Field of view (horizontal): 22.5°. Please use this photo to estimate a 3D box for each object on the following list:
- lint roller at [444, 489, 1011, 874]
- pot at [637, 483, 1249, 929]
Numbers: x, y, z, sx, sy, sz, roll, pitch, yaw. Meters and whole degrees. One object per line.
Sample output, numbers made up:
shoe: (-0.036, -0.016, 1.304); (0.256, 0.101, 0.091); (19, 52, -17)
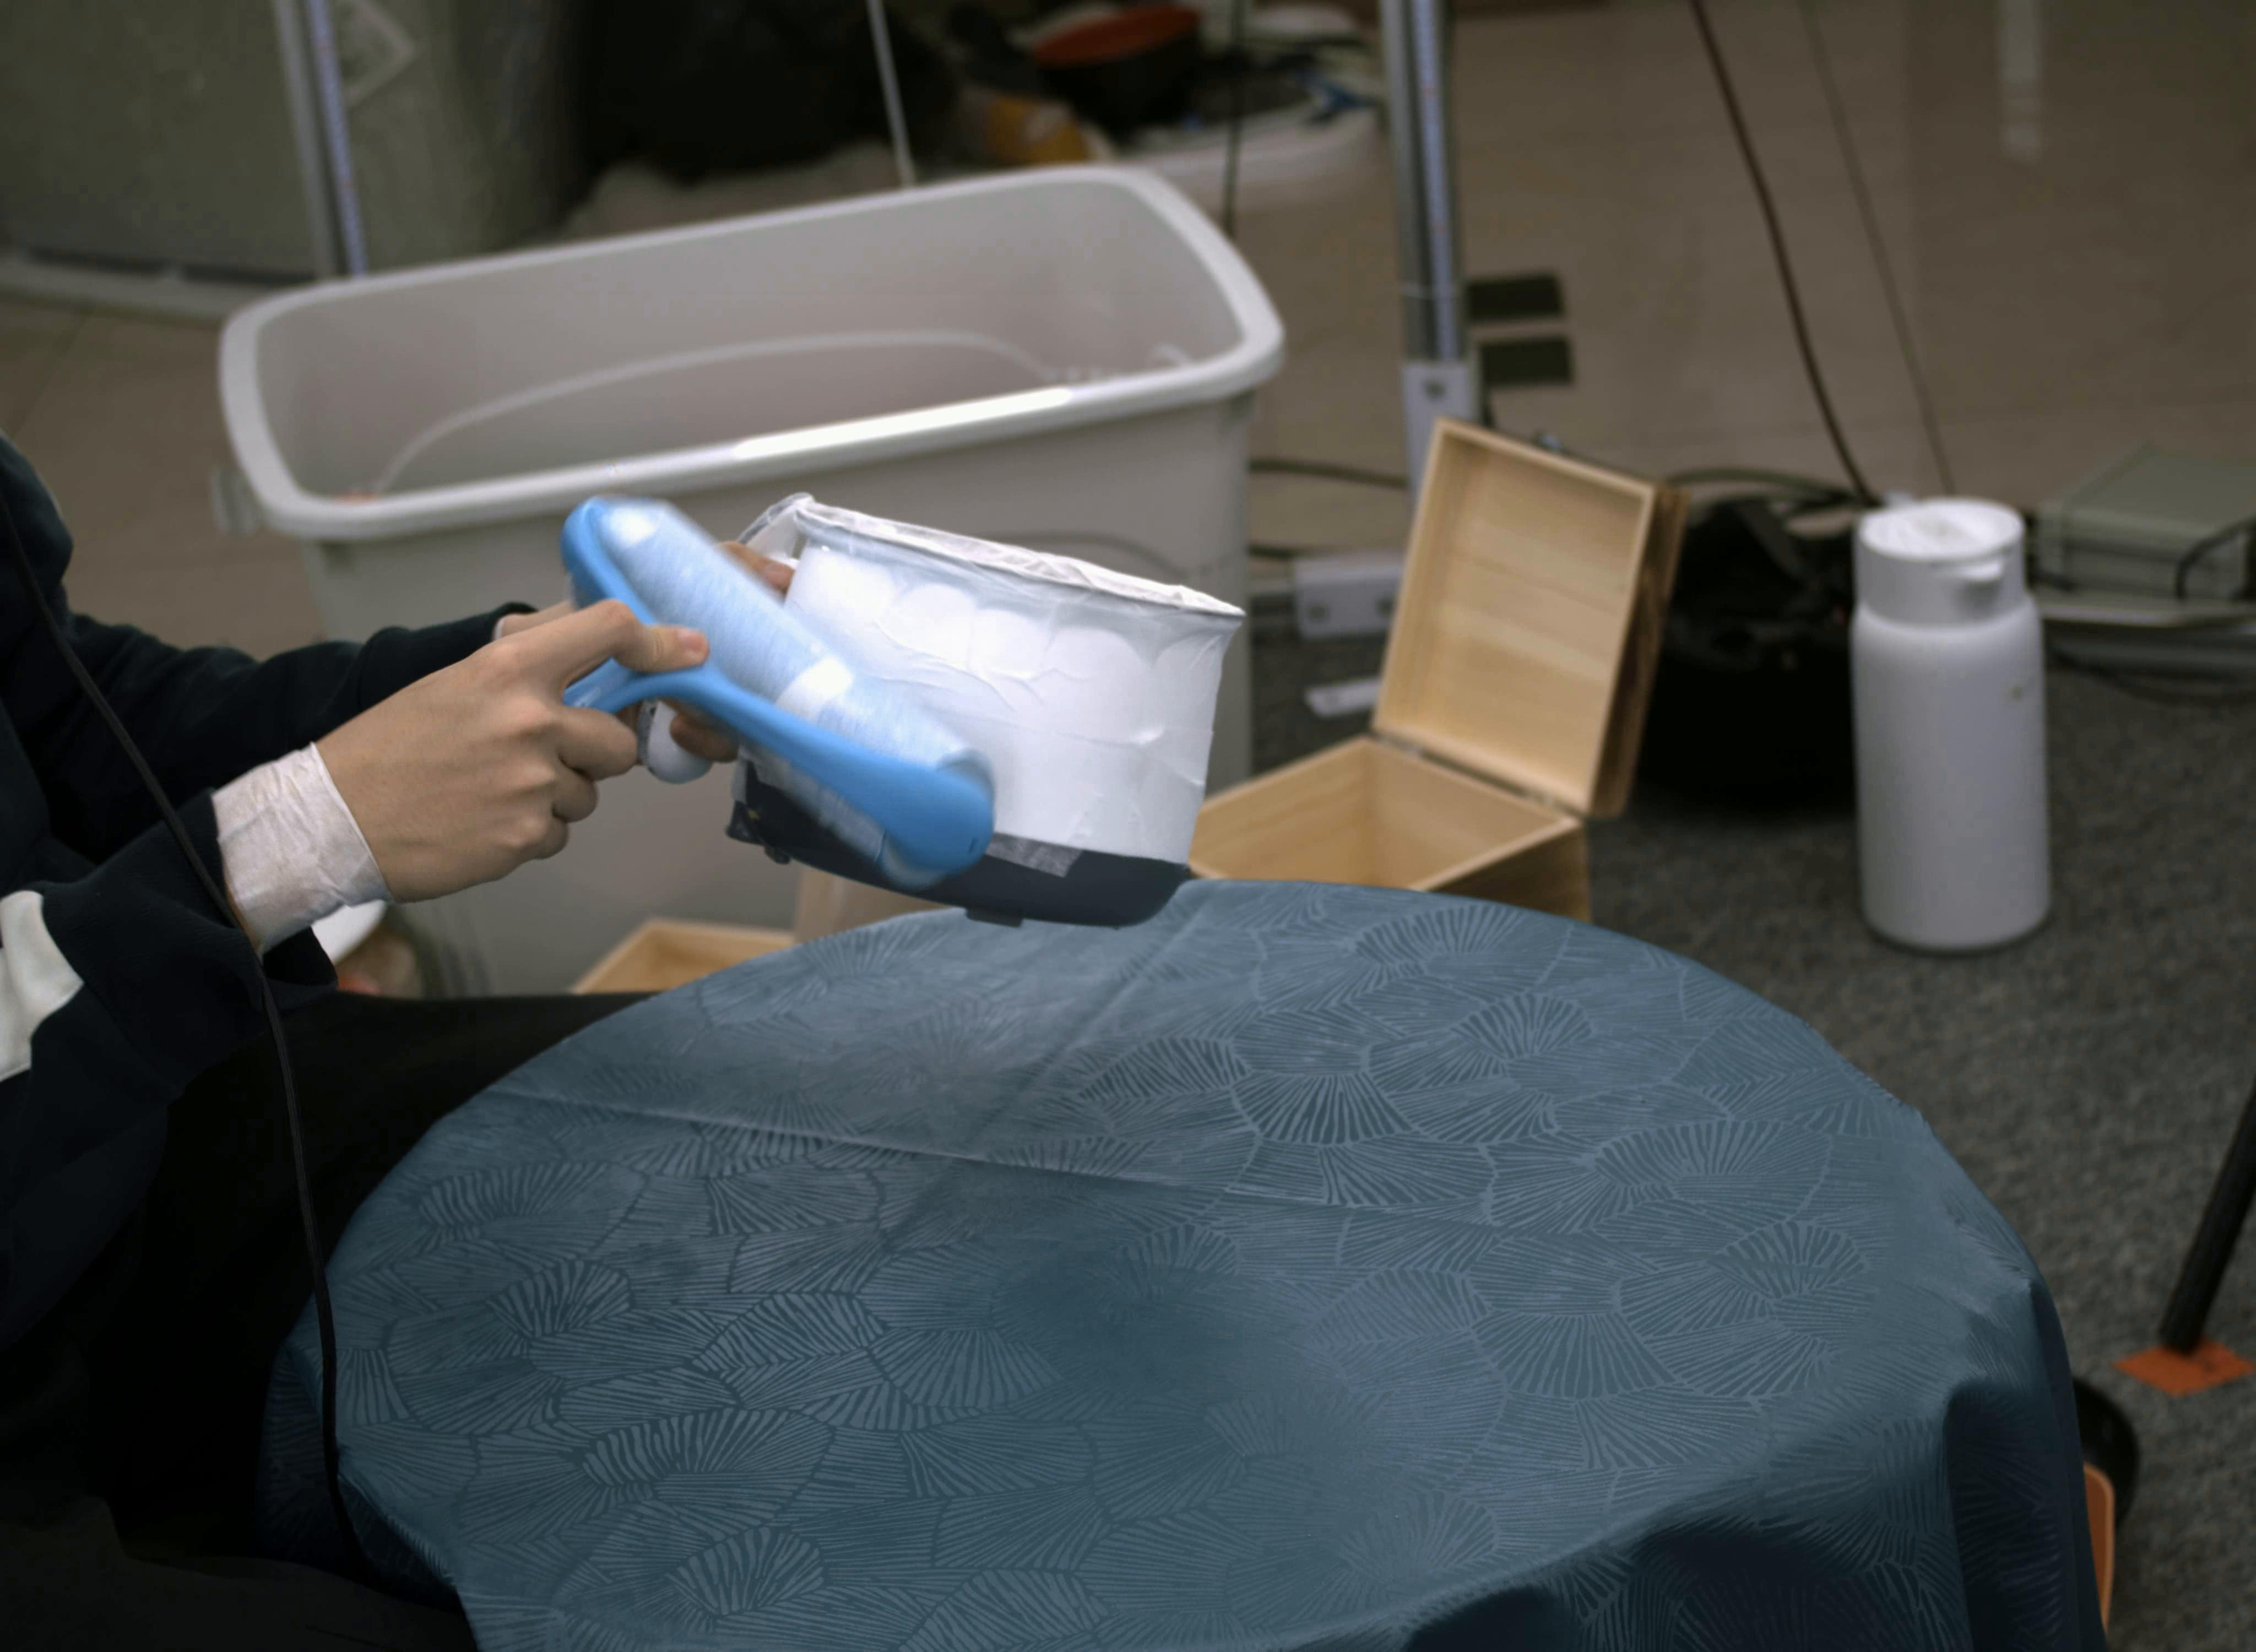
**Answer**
lint roller: (-0.167, -0.038, 2.038); (0.179, 0.069, 0.226); (-25, 49, -37)
pot: (-0.079, -0.049, 2.169); (0.232, 0.137, 0.179); (17, 6, 25)
